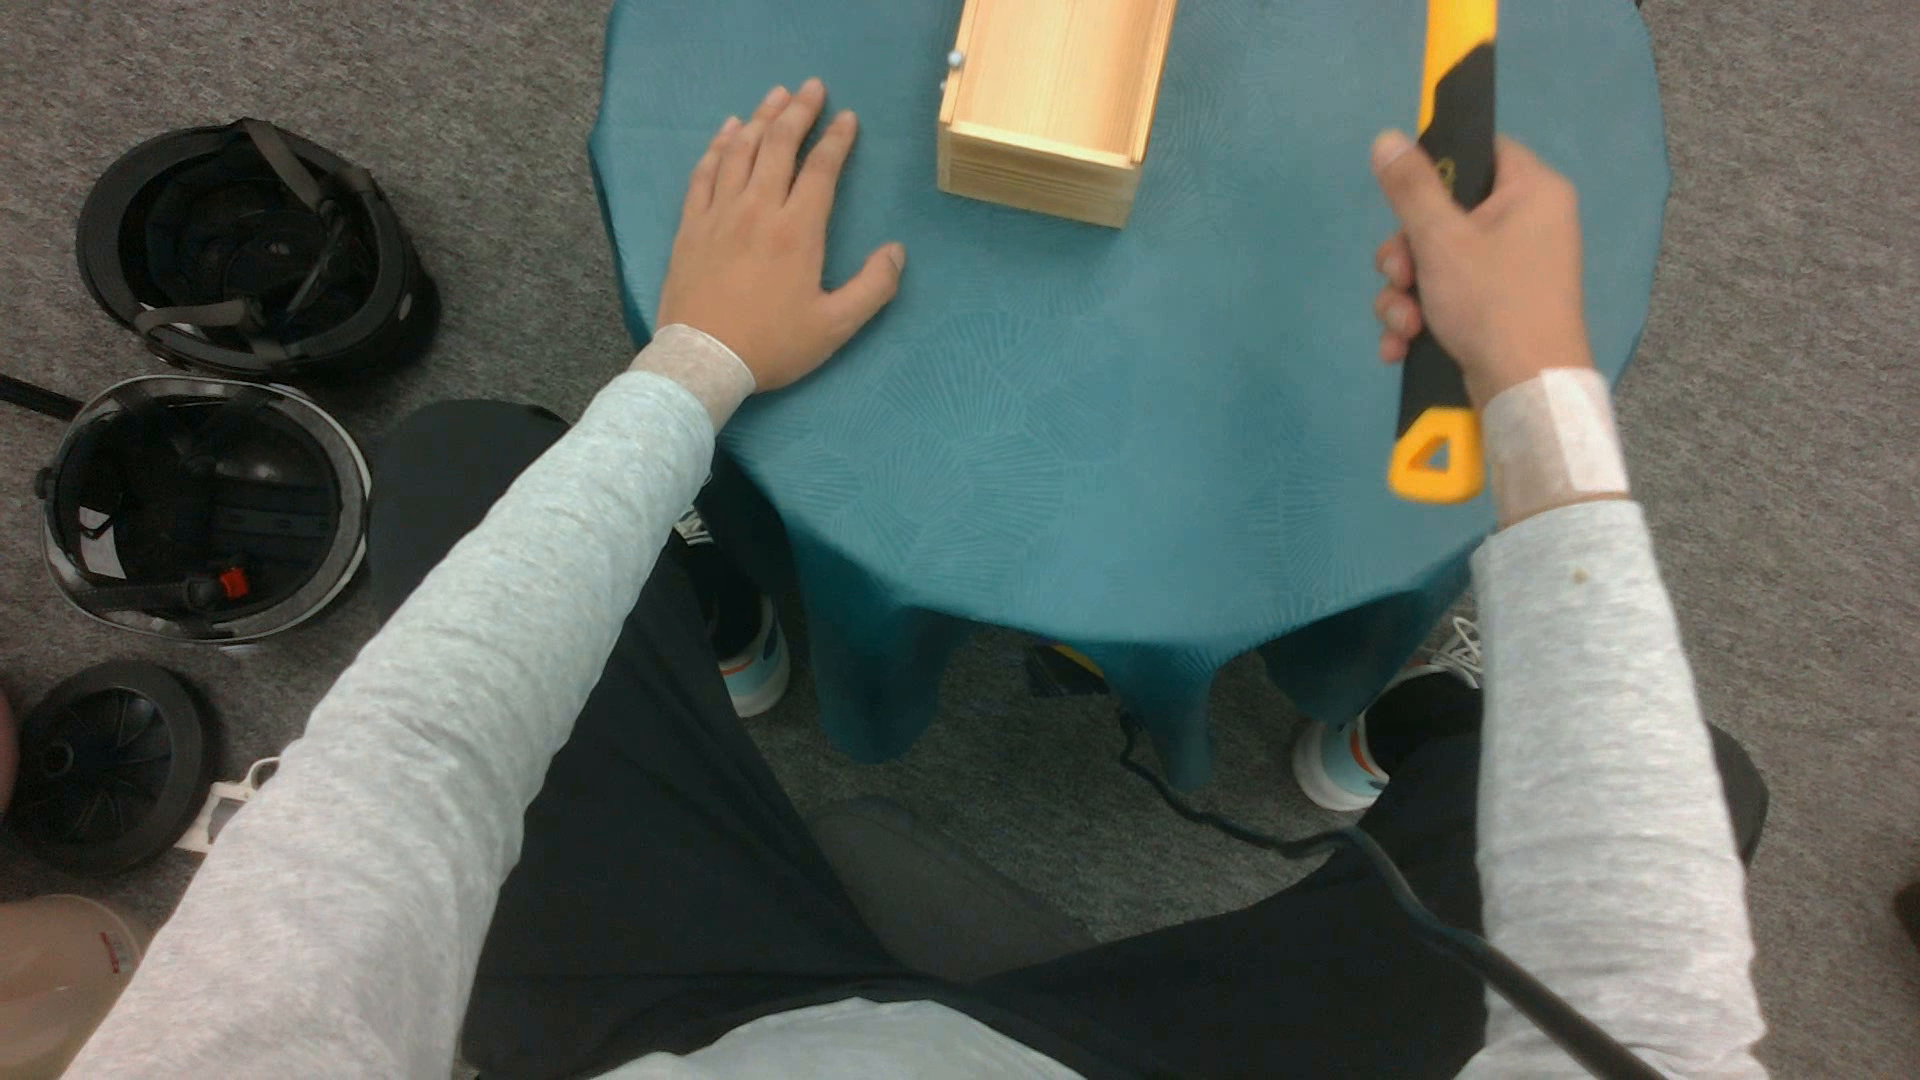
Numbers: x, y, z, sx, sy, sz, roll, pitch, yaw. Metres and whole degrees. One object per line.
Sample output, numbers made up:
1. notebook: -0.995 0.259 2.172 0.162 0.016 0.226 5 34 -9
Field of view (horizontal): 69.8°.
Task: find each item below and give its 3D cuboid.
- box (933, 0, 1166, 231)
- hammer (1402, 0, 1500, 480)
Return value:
1. box: 0.057 -0.291 0.756 0.107 0.080 0.212 10 79 1
2. hammer: 0.209 -0.192 0.578 0.032 0.131 0.338 -13 106 -42
